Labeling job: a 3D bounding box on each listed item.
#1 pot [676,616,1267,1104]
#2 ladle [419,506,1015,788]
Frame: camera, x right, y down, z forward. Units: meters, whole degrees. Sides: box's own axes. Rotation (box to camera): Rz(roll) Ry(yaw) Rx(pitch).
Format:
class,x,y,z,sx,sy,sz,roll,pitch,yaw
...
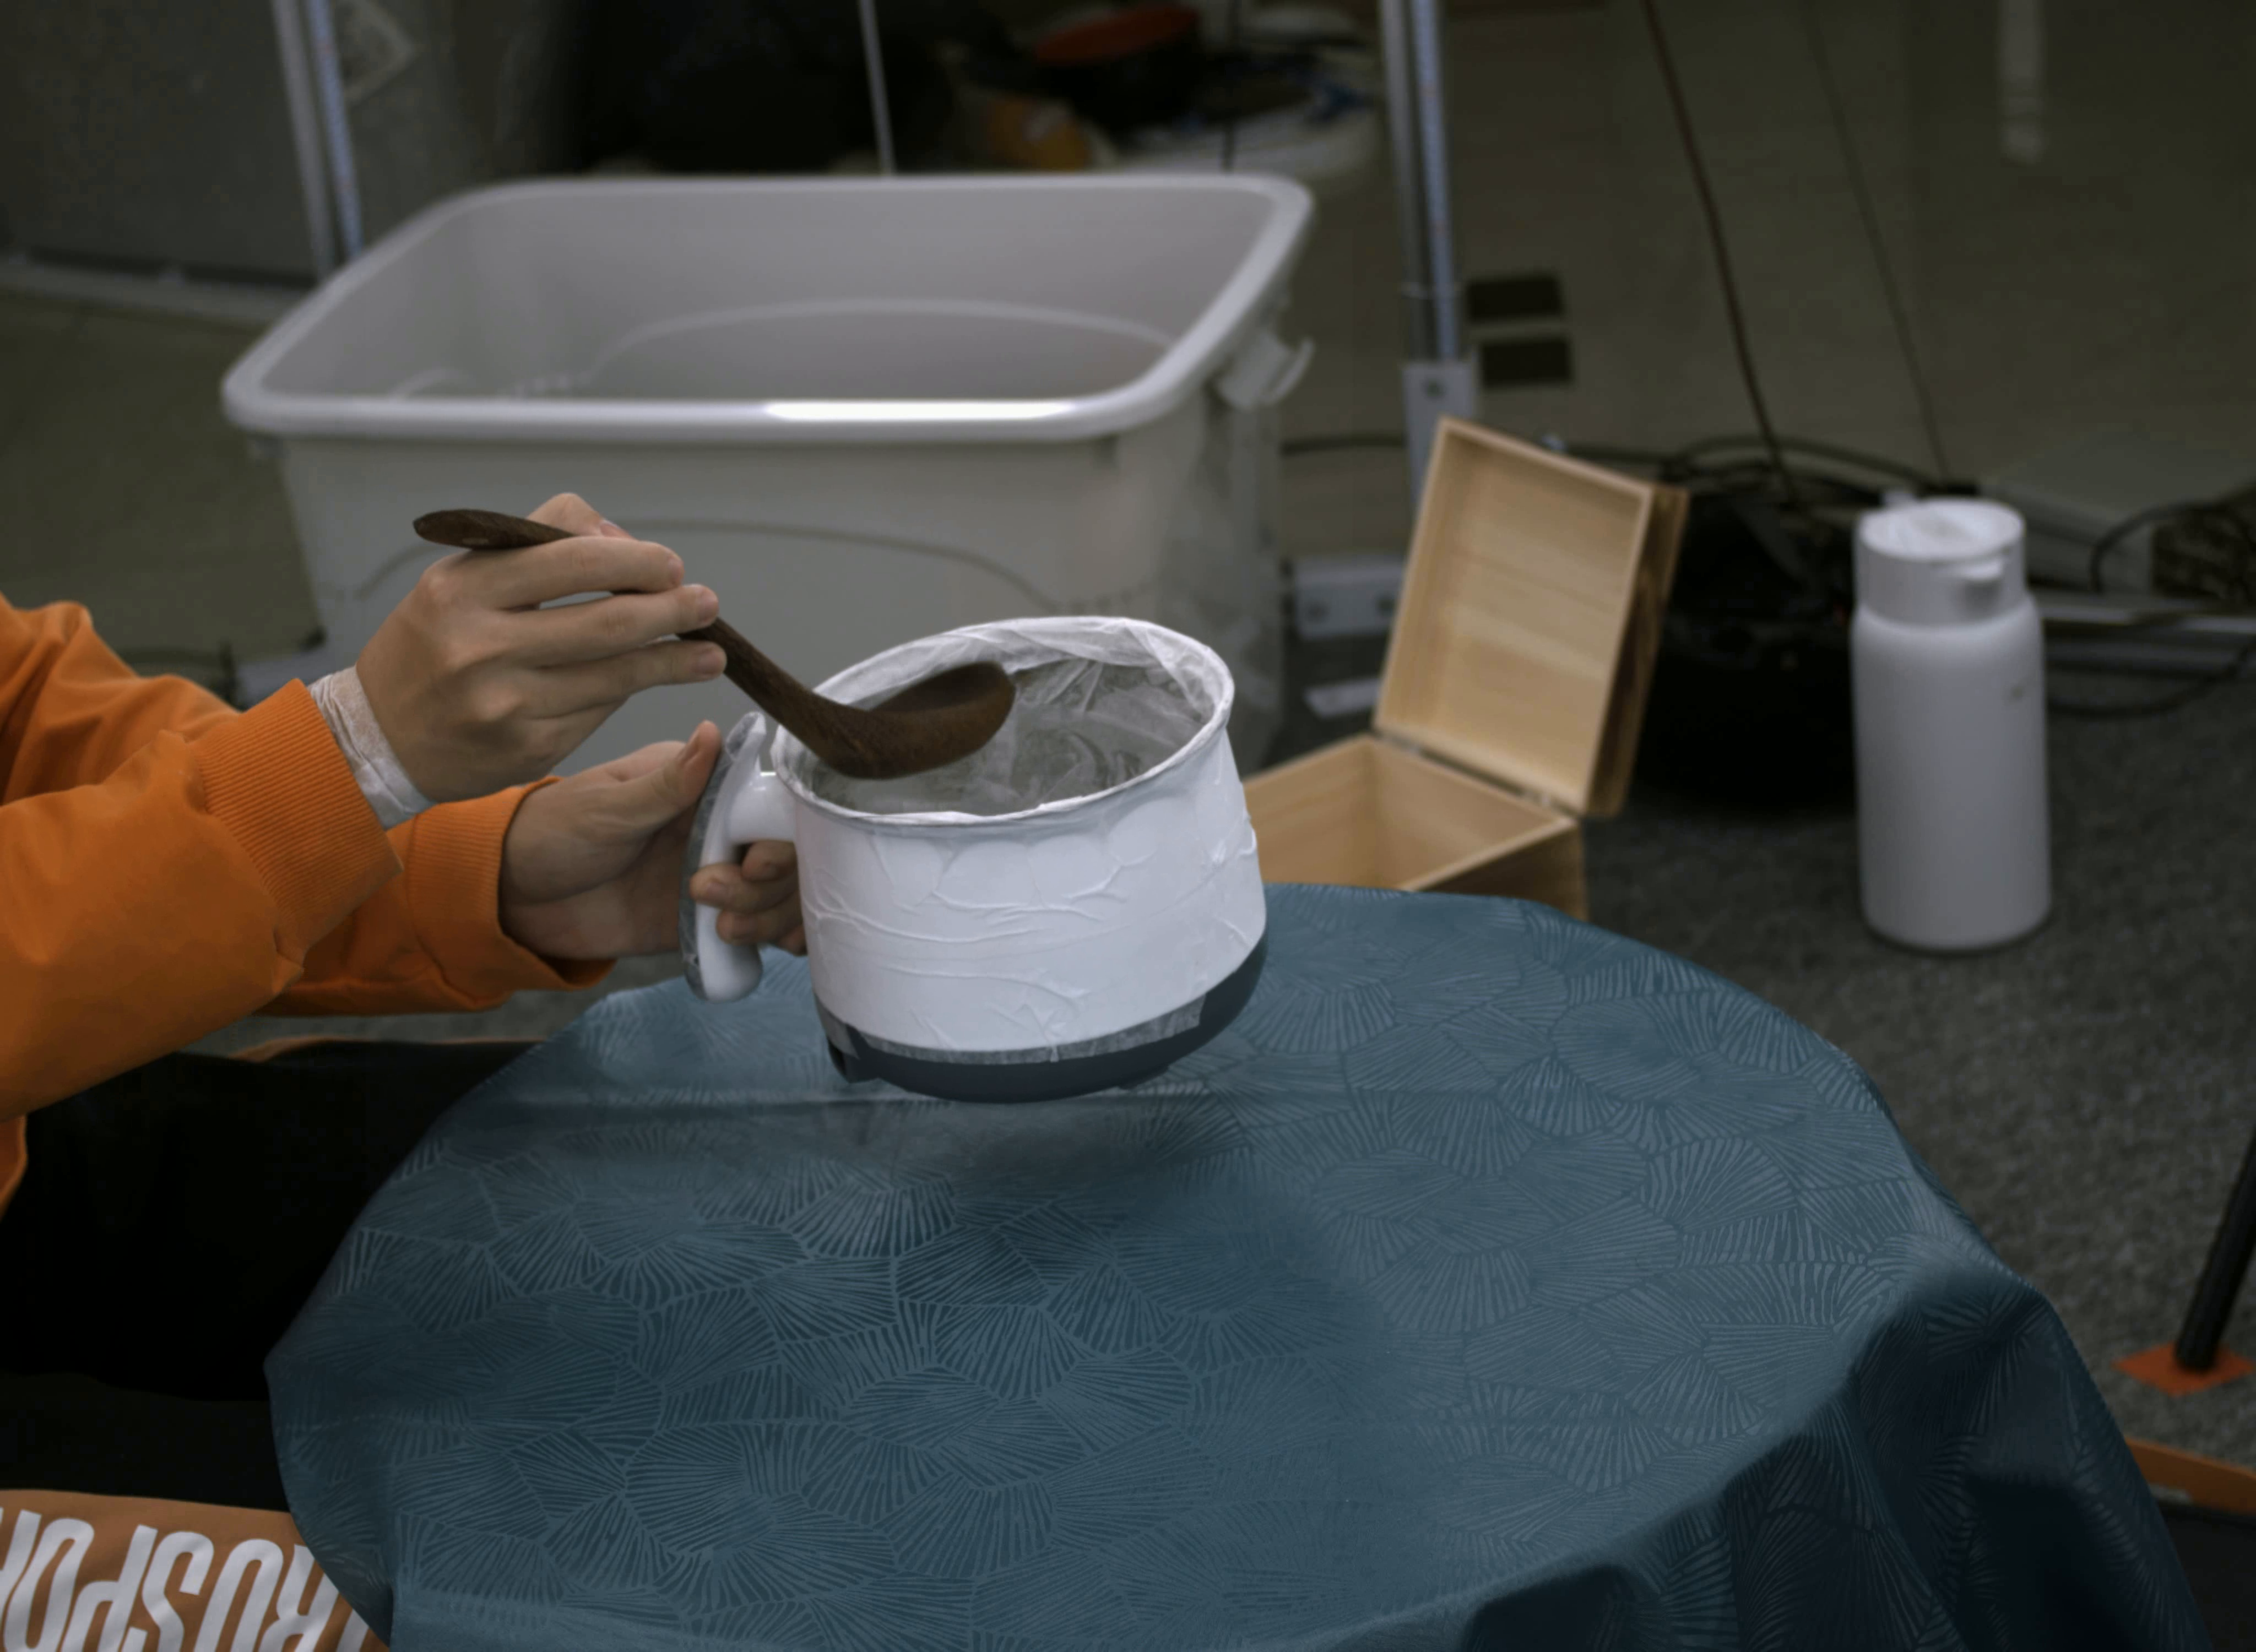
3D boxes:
class,x,y,z,sx,sy,sz,roll,pitch,yaw
pot,-0.065,0.016,2.165,0.233,0.139,0.176,-2,27,13
ladle,-0.149,-0.083,2.081,0.076,0.277,0.070,-17,55,38
